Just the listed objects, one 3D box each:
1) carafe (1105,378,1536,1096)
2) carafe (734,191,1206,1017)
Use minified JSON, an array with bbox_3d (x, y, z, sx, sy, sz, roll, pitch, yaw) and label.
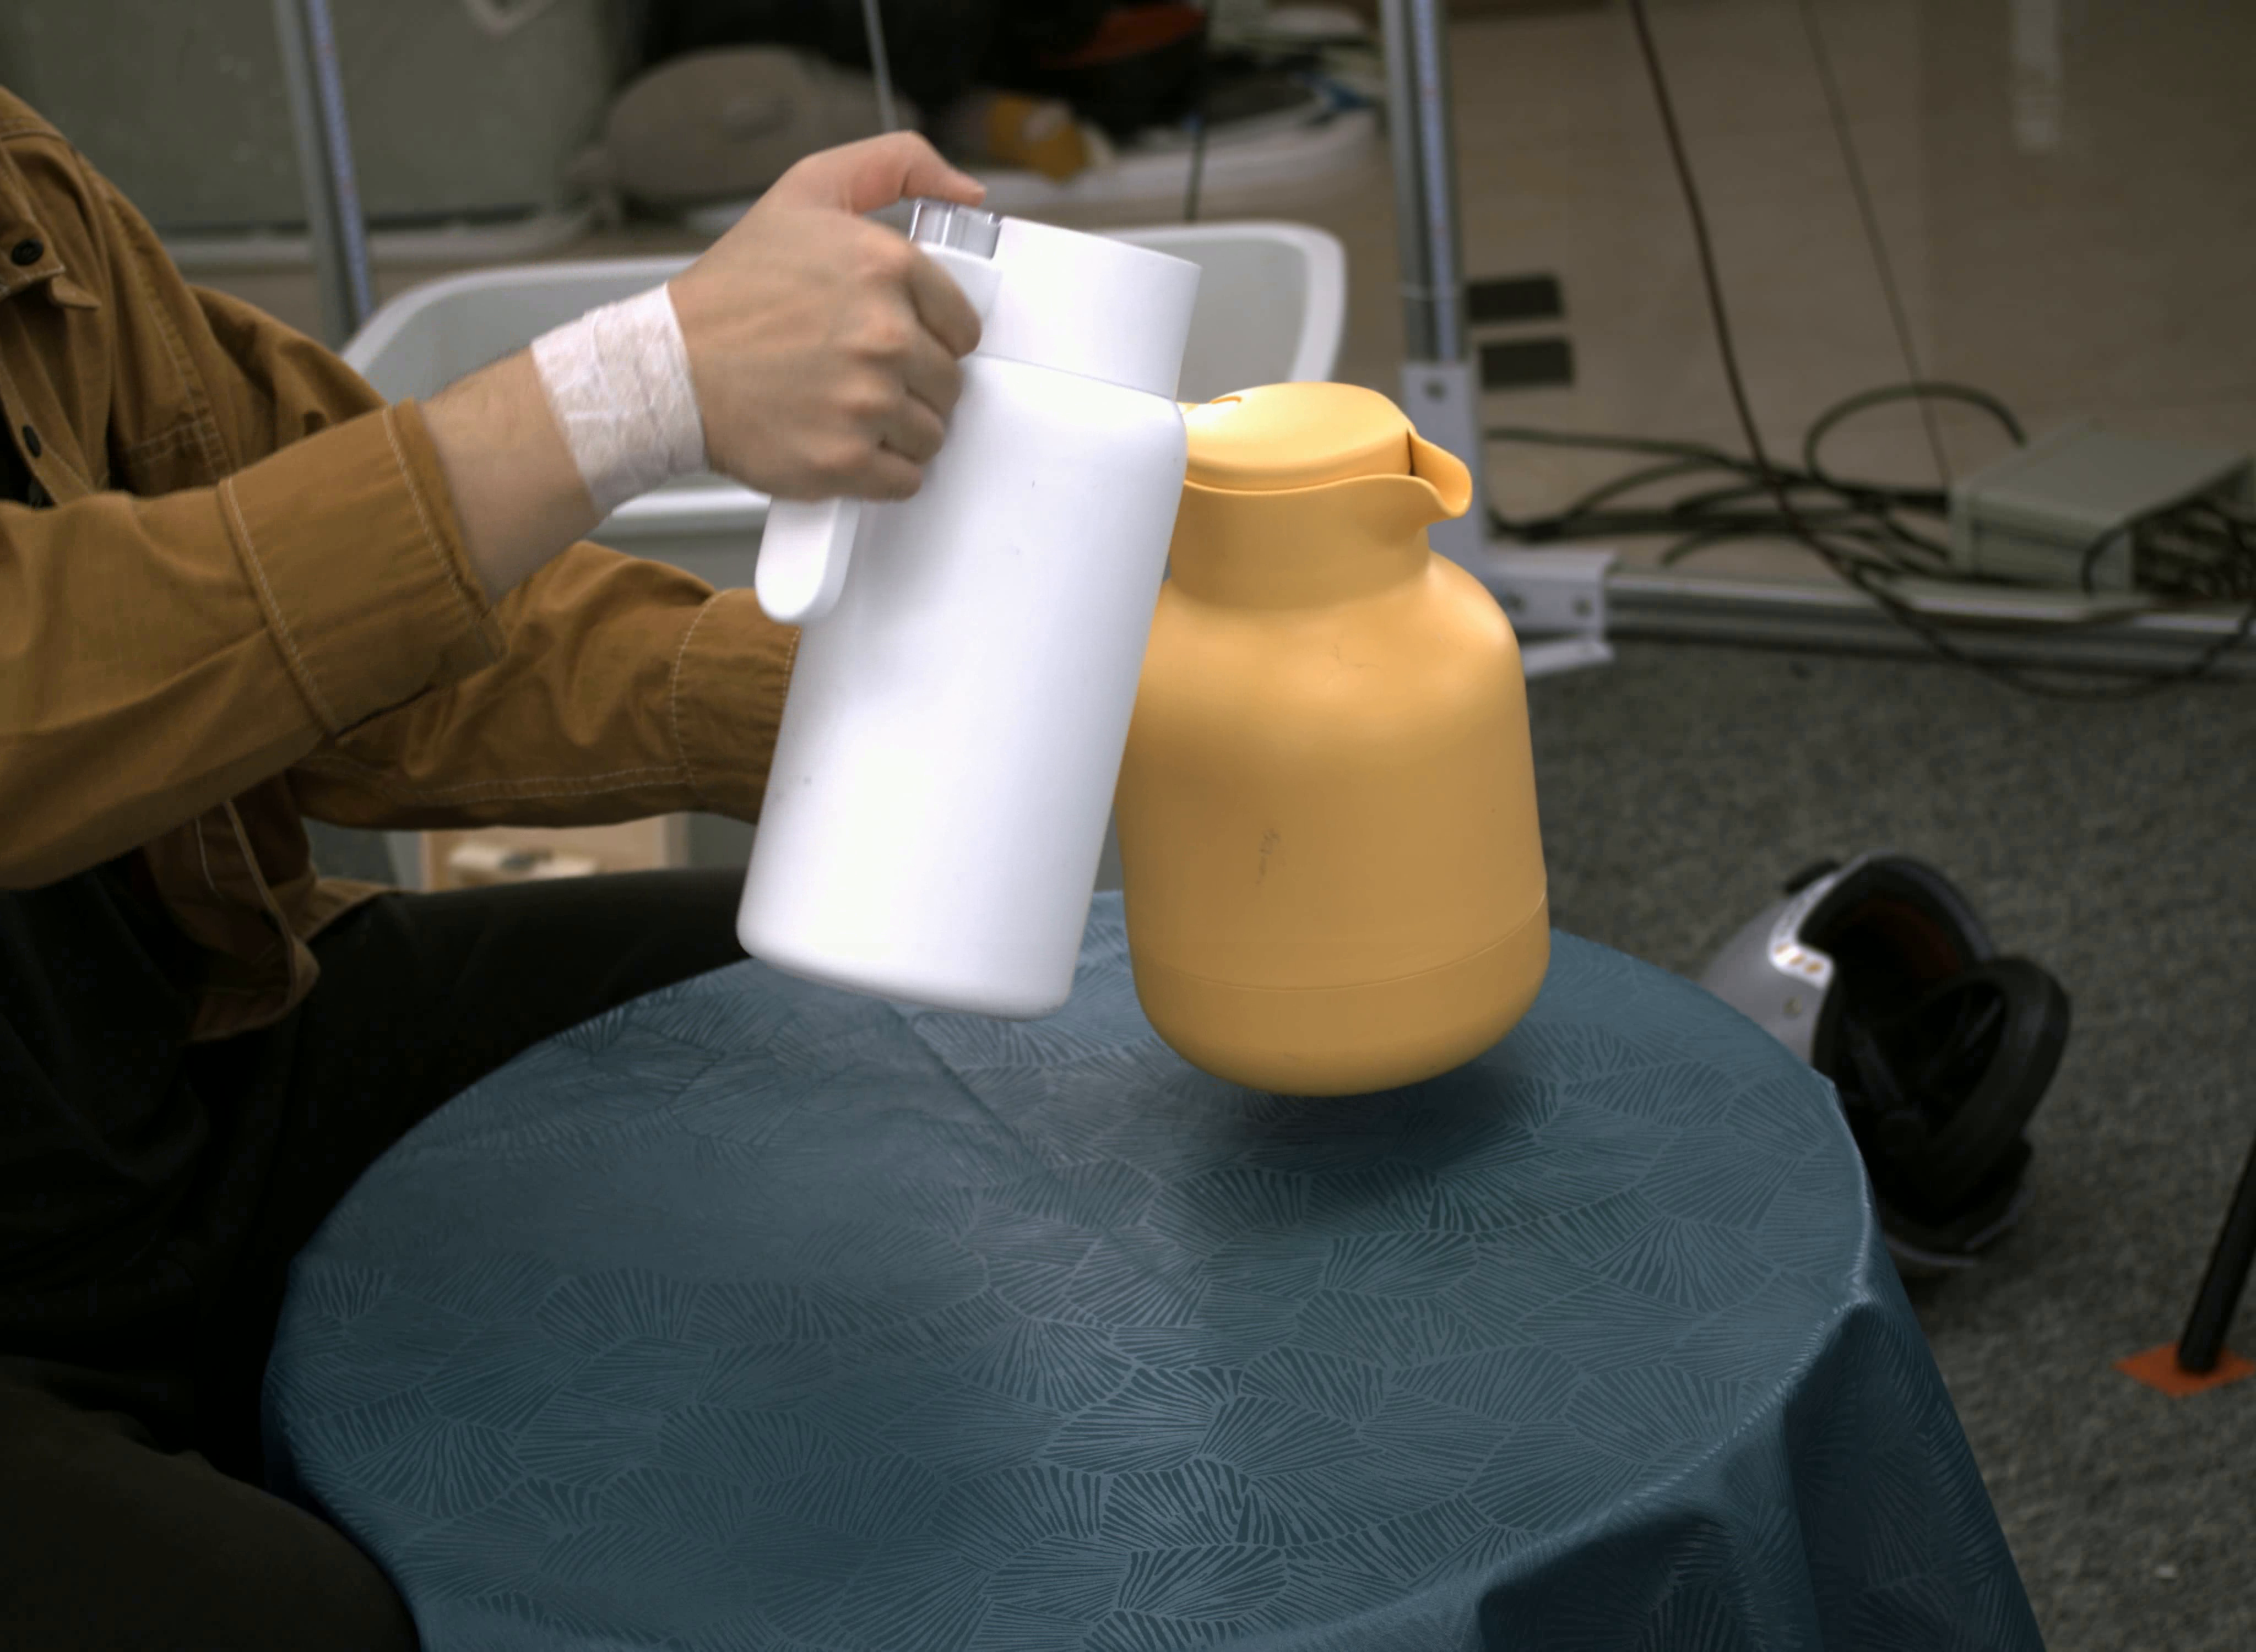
[{"bbox_3d":[0.055,-0.042,2.157,0.201,0.264,0.162,14,29,34],"label":"carafe"},{"bbox_3d":[-0.059,-0.076,1.923,0.123,0.270,0.173,18,6,35],"label":"carafe"}]
